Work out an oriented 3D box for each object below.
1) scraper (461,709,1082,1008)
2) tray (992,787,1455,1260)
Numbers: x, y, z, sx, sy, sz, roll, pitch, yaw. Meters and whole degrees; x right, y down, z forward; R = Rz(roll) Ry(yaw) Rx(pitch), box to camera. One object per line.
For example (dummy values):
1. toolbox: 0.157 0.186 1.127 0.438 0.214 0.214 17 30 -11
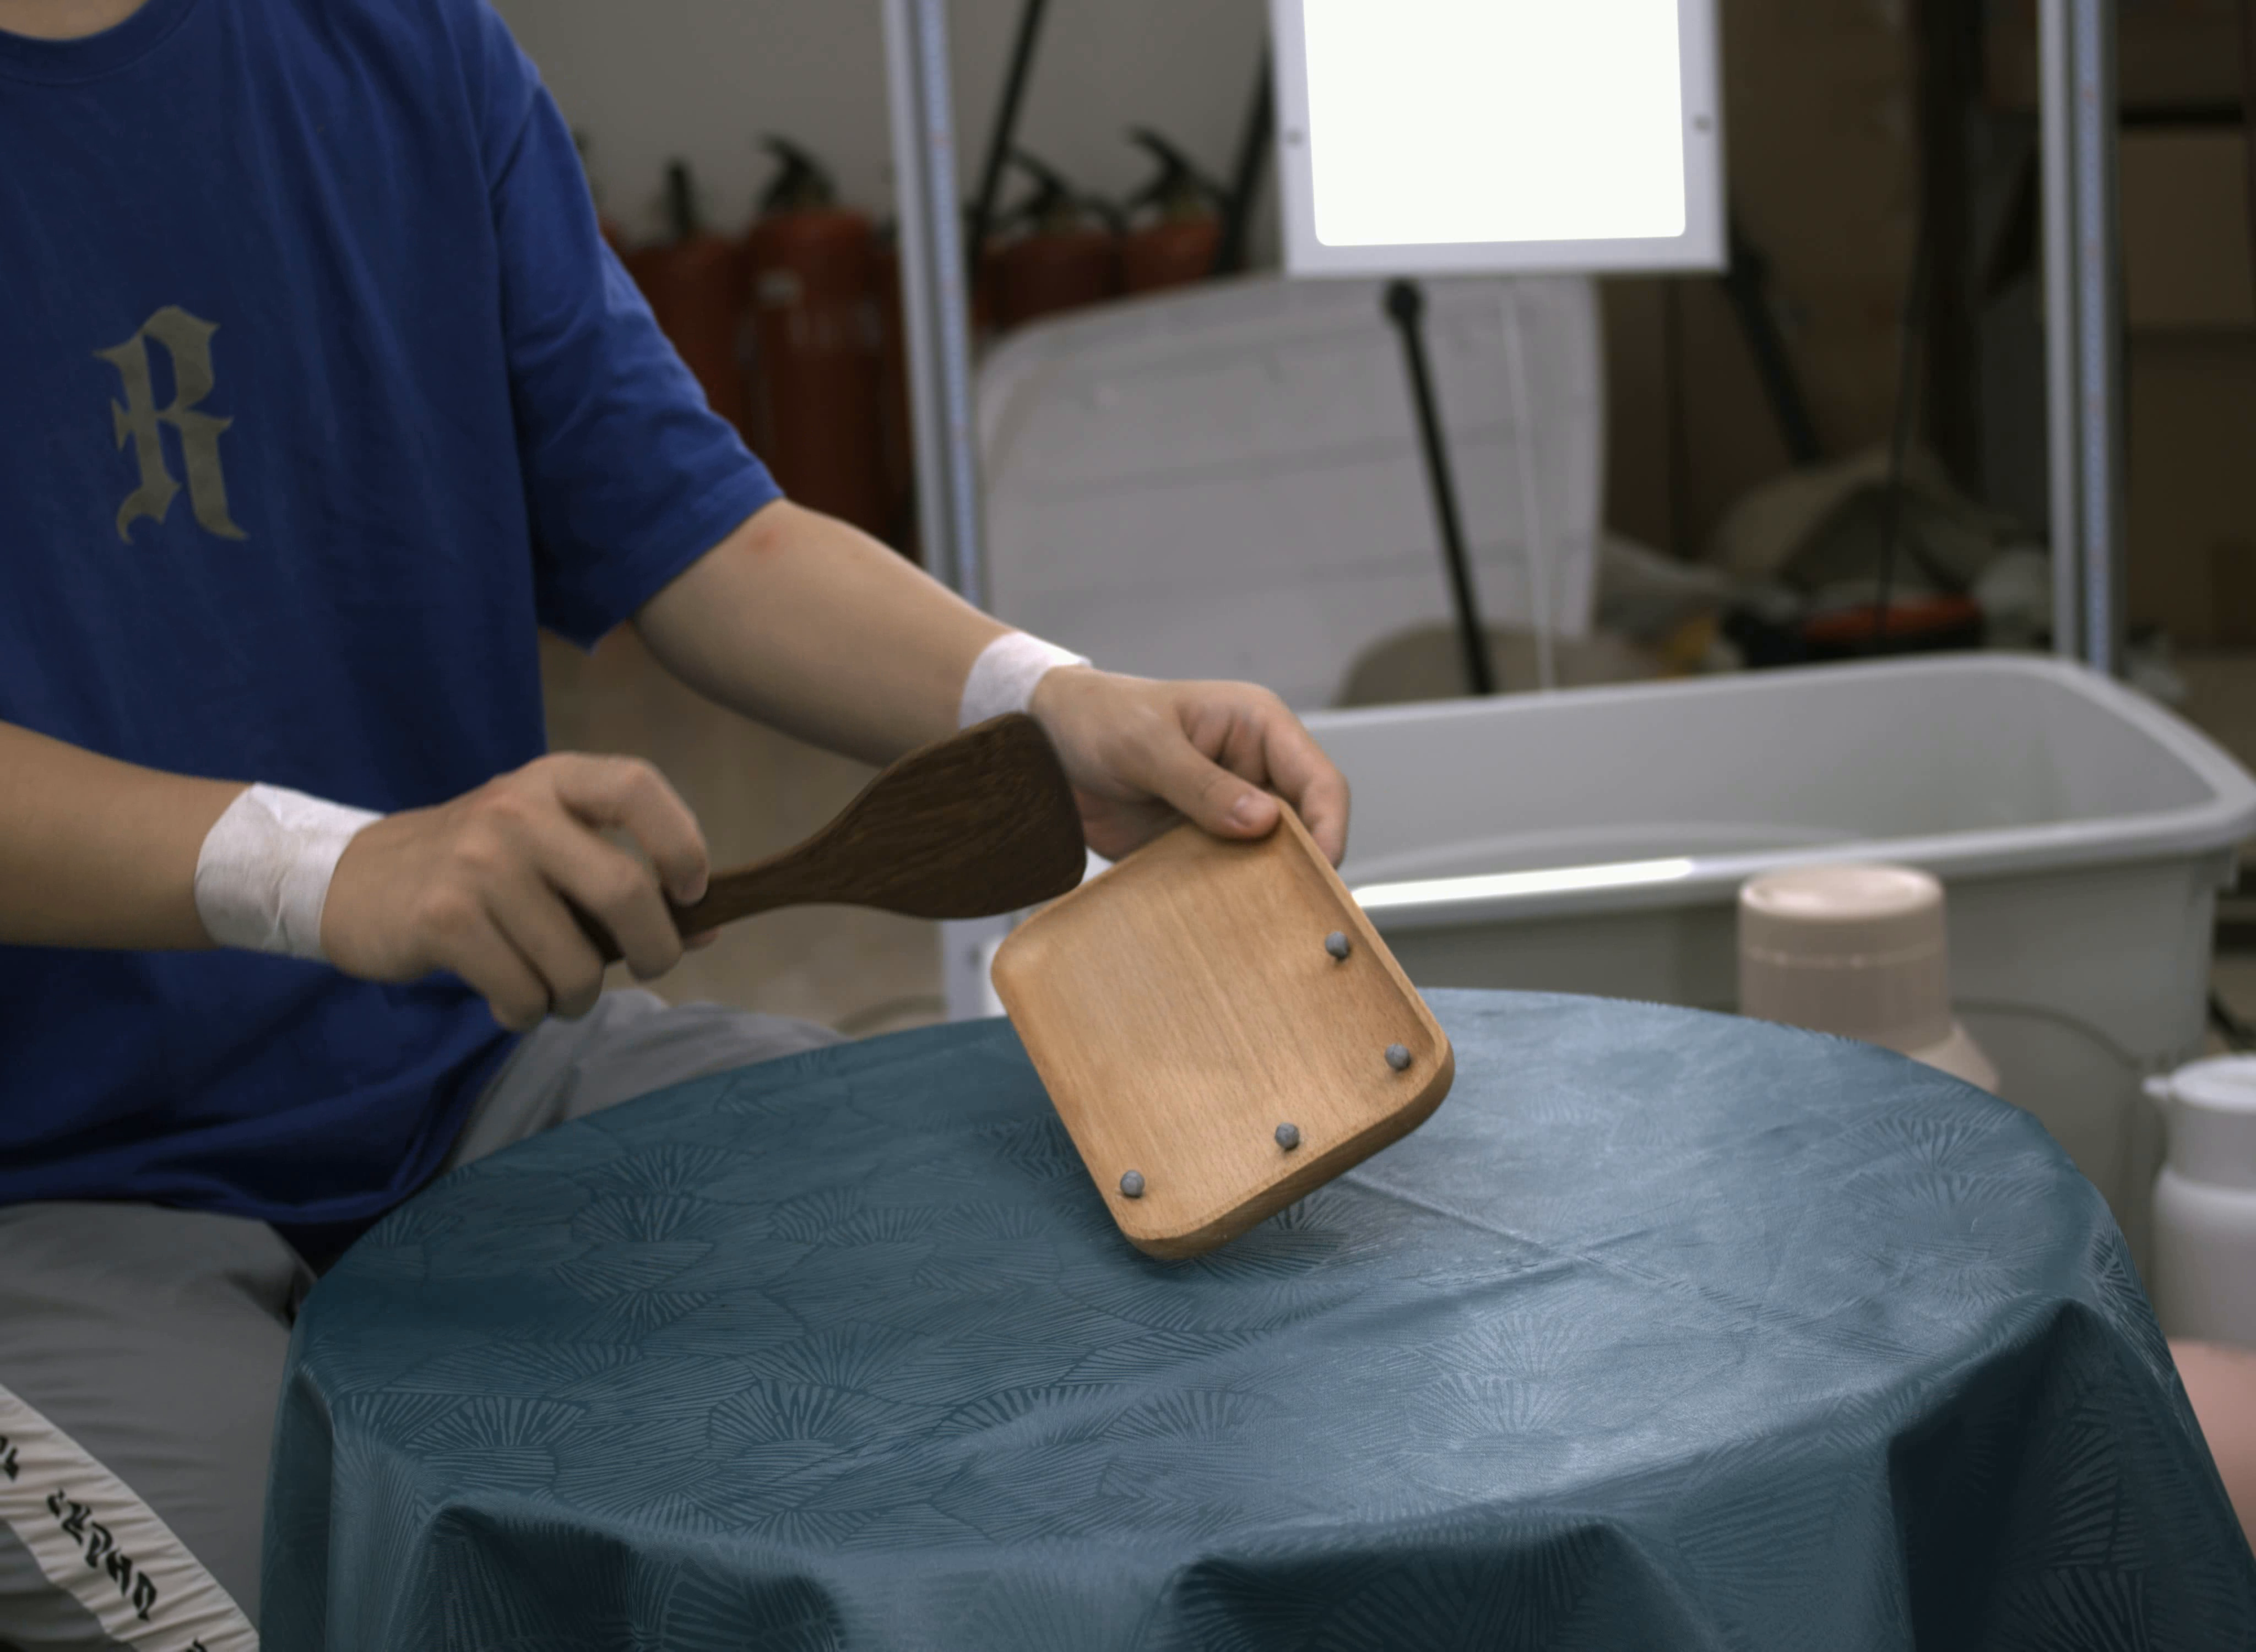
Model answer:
1. scraper: -0.120 0.021 1.826 0.212 0.075 0.011 -17 30 10
2. tray: 0.031 0.066 1.913 0.130 0.023 0.252 -28 27 1
